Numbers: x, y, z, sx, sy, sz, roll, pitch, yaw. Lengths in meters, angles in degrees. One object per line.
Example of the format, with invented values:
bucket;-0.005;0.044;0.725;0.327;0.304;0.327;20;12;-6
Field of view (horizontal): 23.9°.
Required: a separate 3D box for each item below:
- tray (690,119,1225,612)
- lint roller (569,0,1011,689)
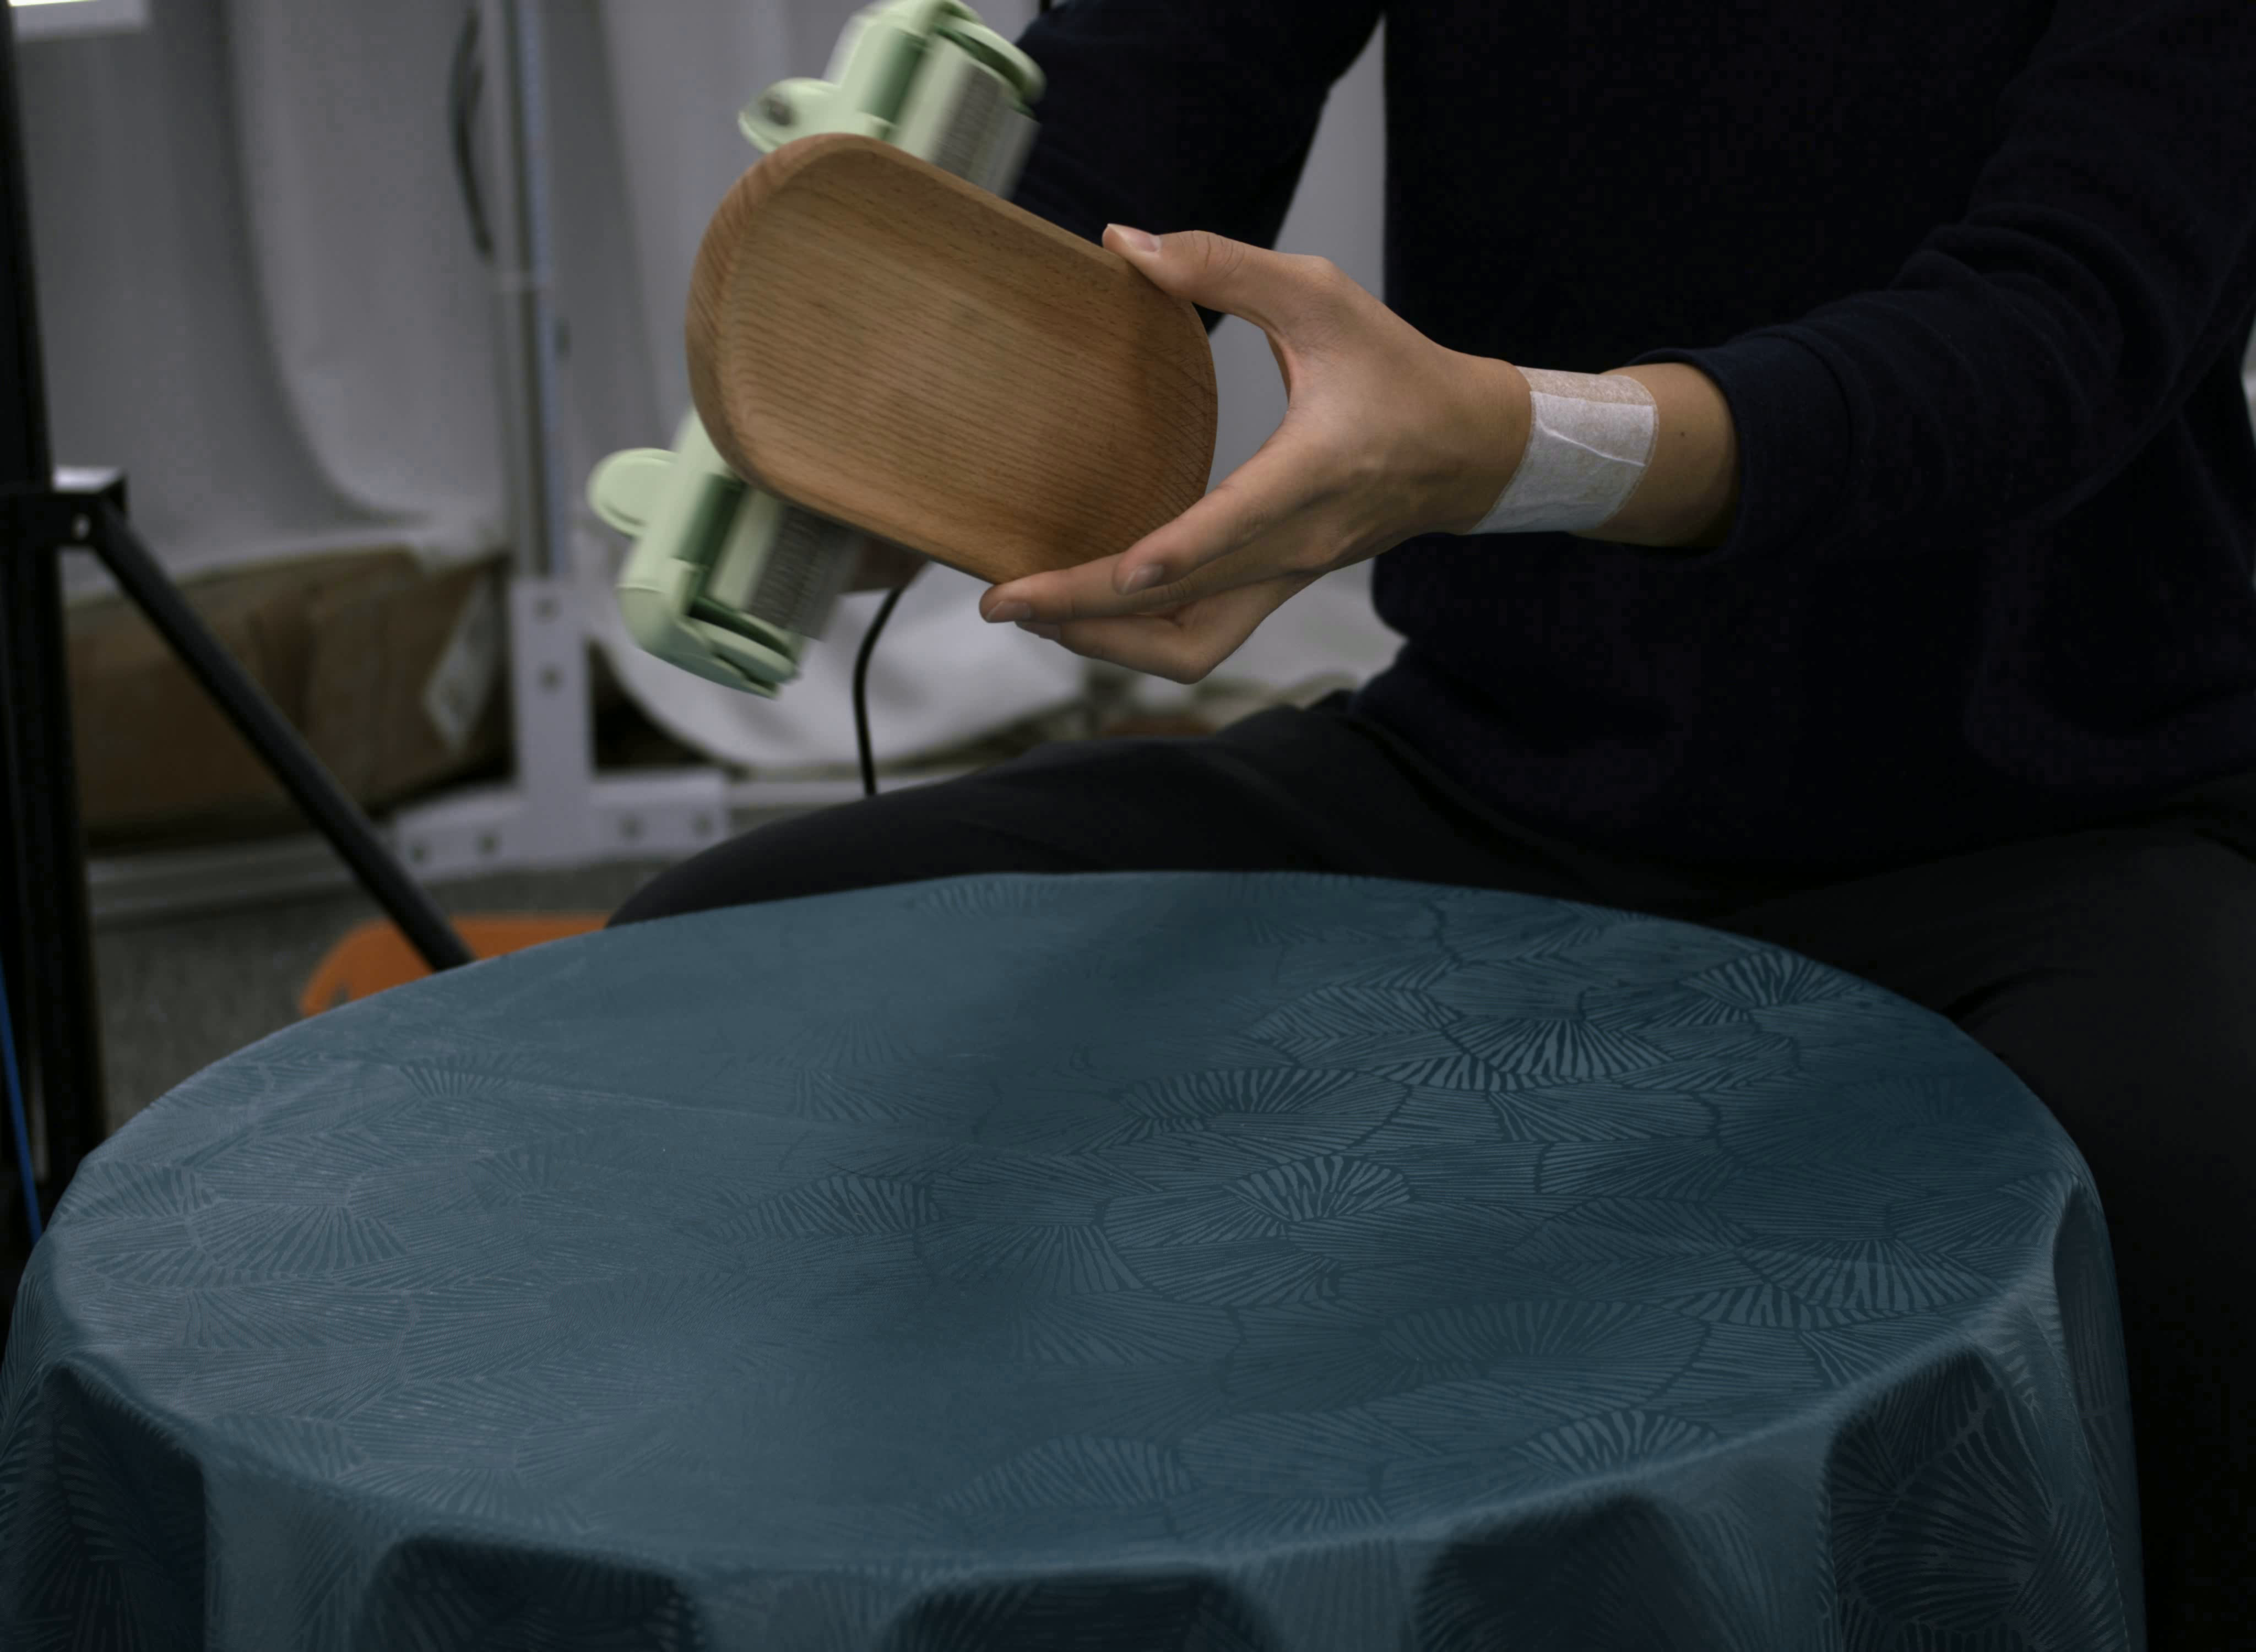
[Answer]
tray;-0.044;-0.124;1.470;0.021;0.102;0.225;13;-4;36
lint roller;-0.100;-0.129;1.525;0.082;0.199;0.183;22;-12;-2
